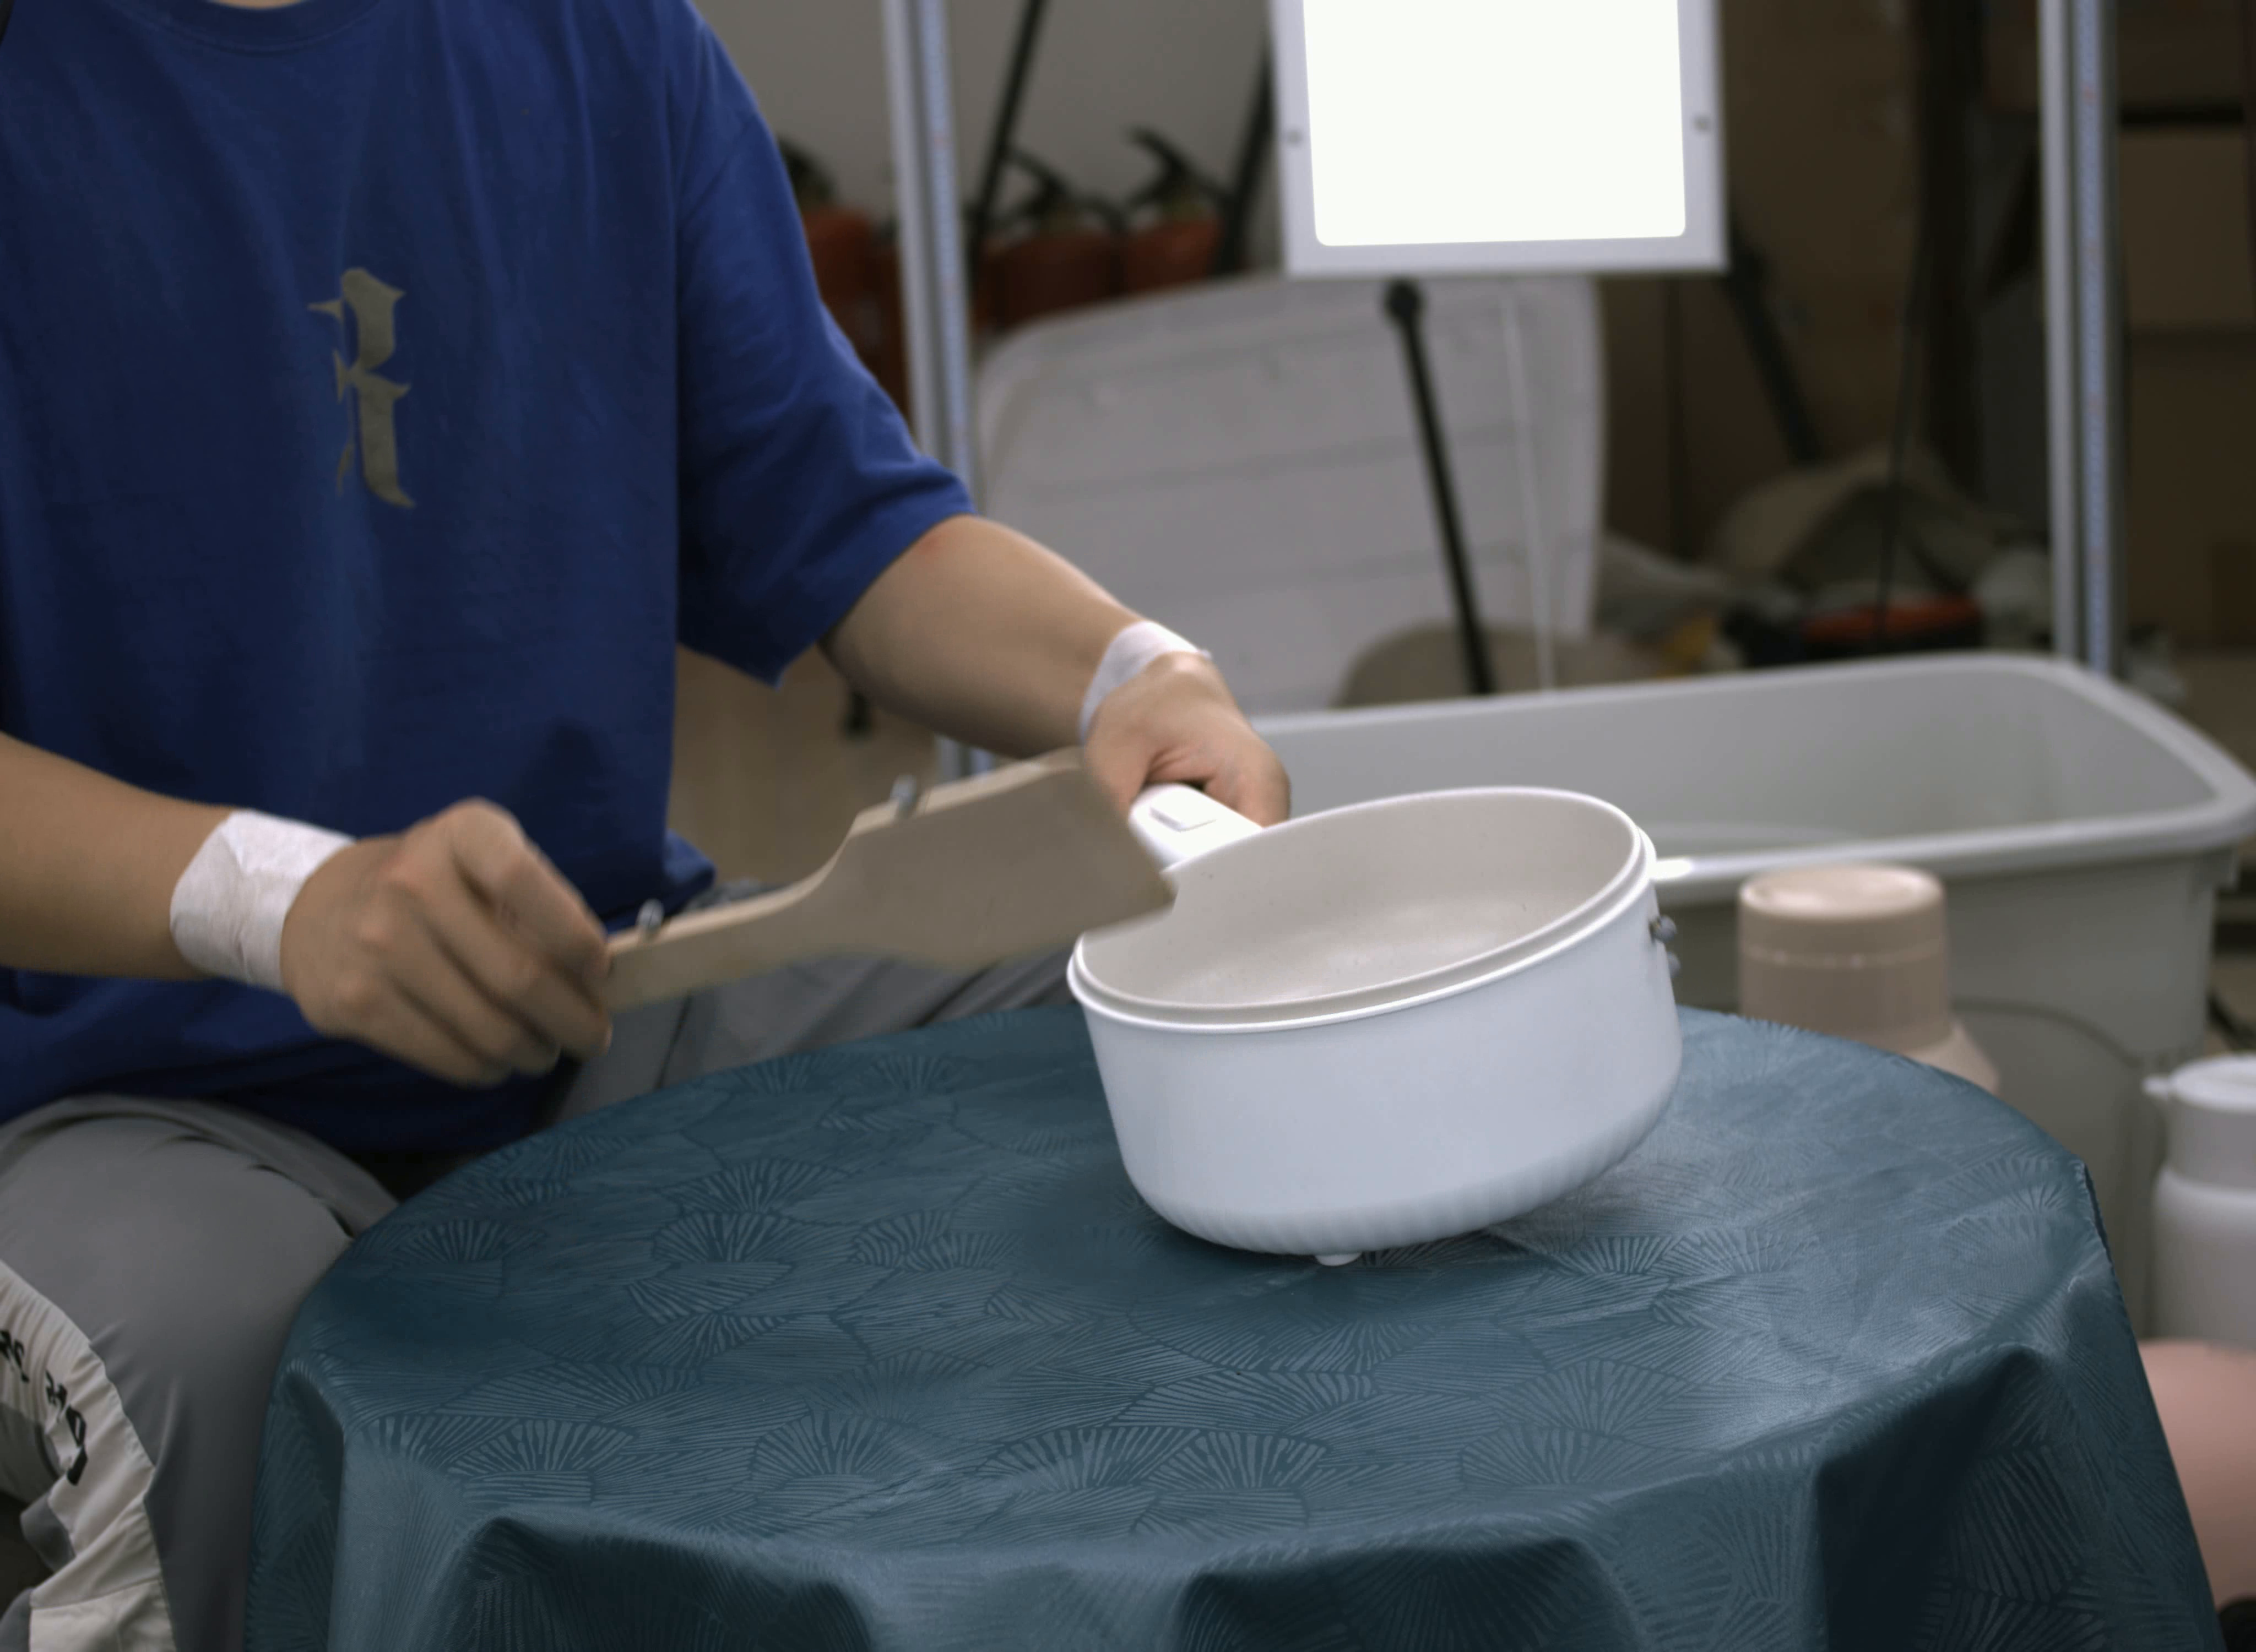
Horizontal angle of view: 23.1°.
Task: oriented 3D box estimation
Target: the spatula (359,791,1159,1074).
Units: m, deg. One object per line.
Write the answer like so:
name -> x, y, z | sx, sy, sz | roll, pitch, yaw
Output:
spatula -> -0.130, 0.043, 1.789 | 0.298, 0.071, 0.010 | -14, 41, 29

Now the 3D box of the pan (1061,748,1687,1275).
pan -> 0.061, 0.055, 1.923 | 0.198, 0.102, 0.359 | -20, 18, -16
